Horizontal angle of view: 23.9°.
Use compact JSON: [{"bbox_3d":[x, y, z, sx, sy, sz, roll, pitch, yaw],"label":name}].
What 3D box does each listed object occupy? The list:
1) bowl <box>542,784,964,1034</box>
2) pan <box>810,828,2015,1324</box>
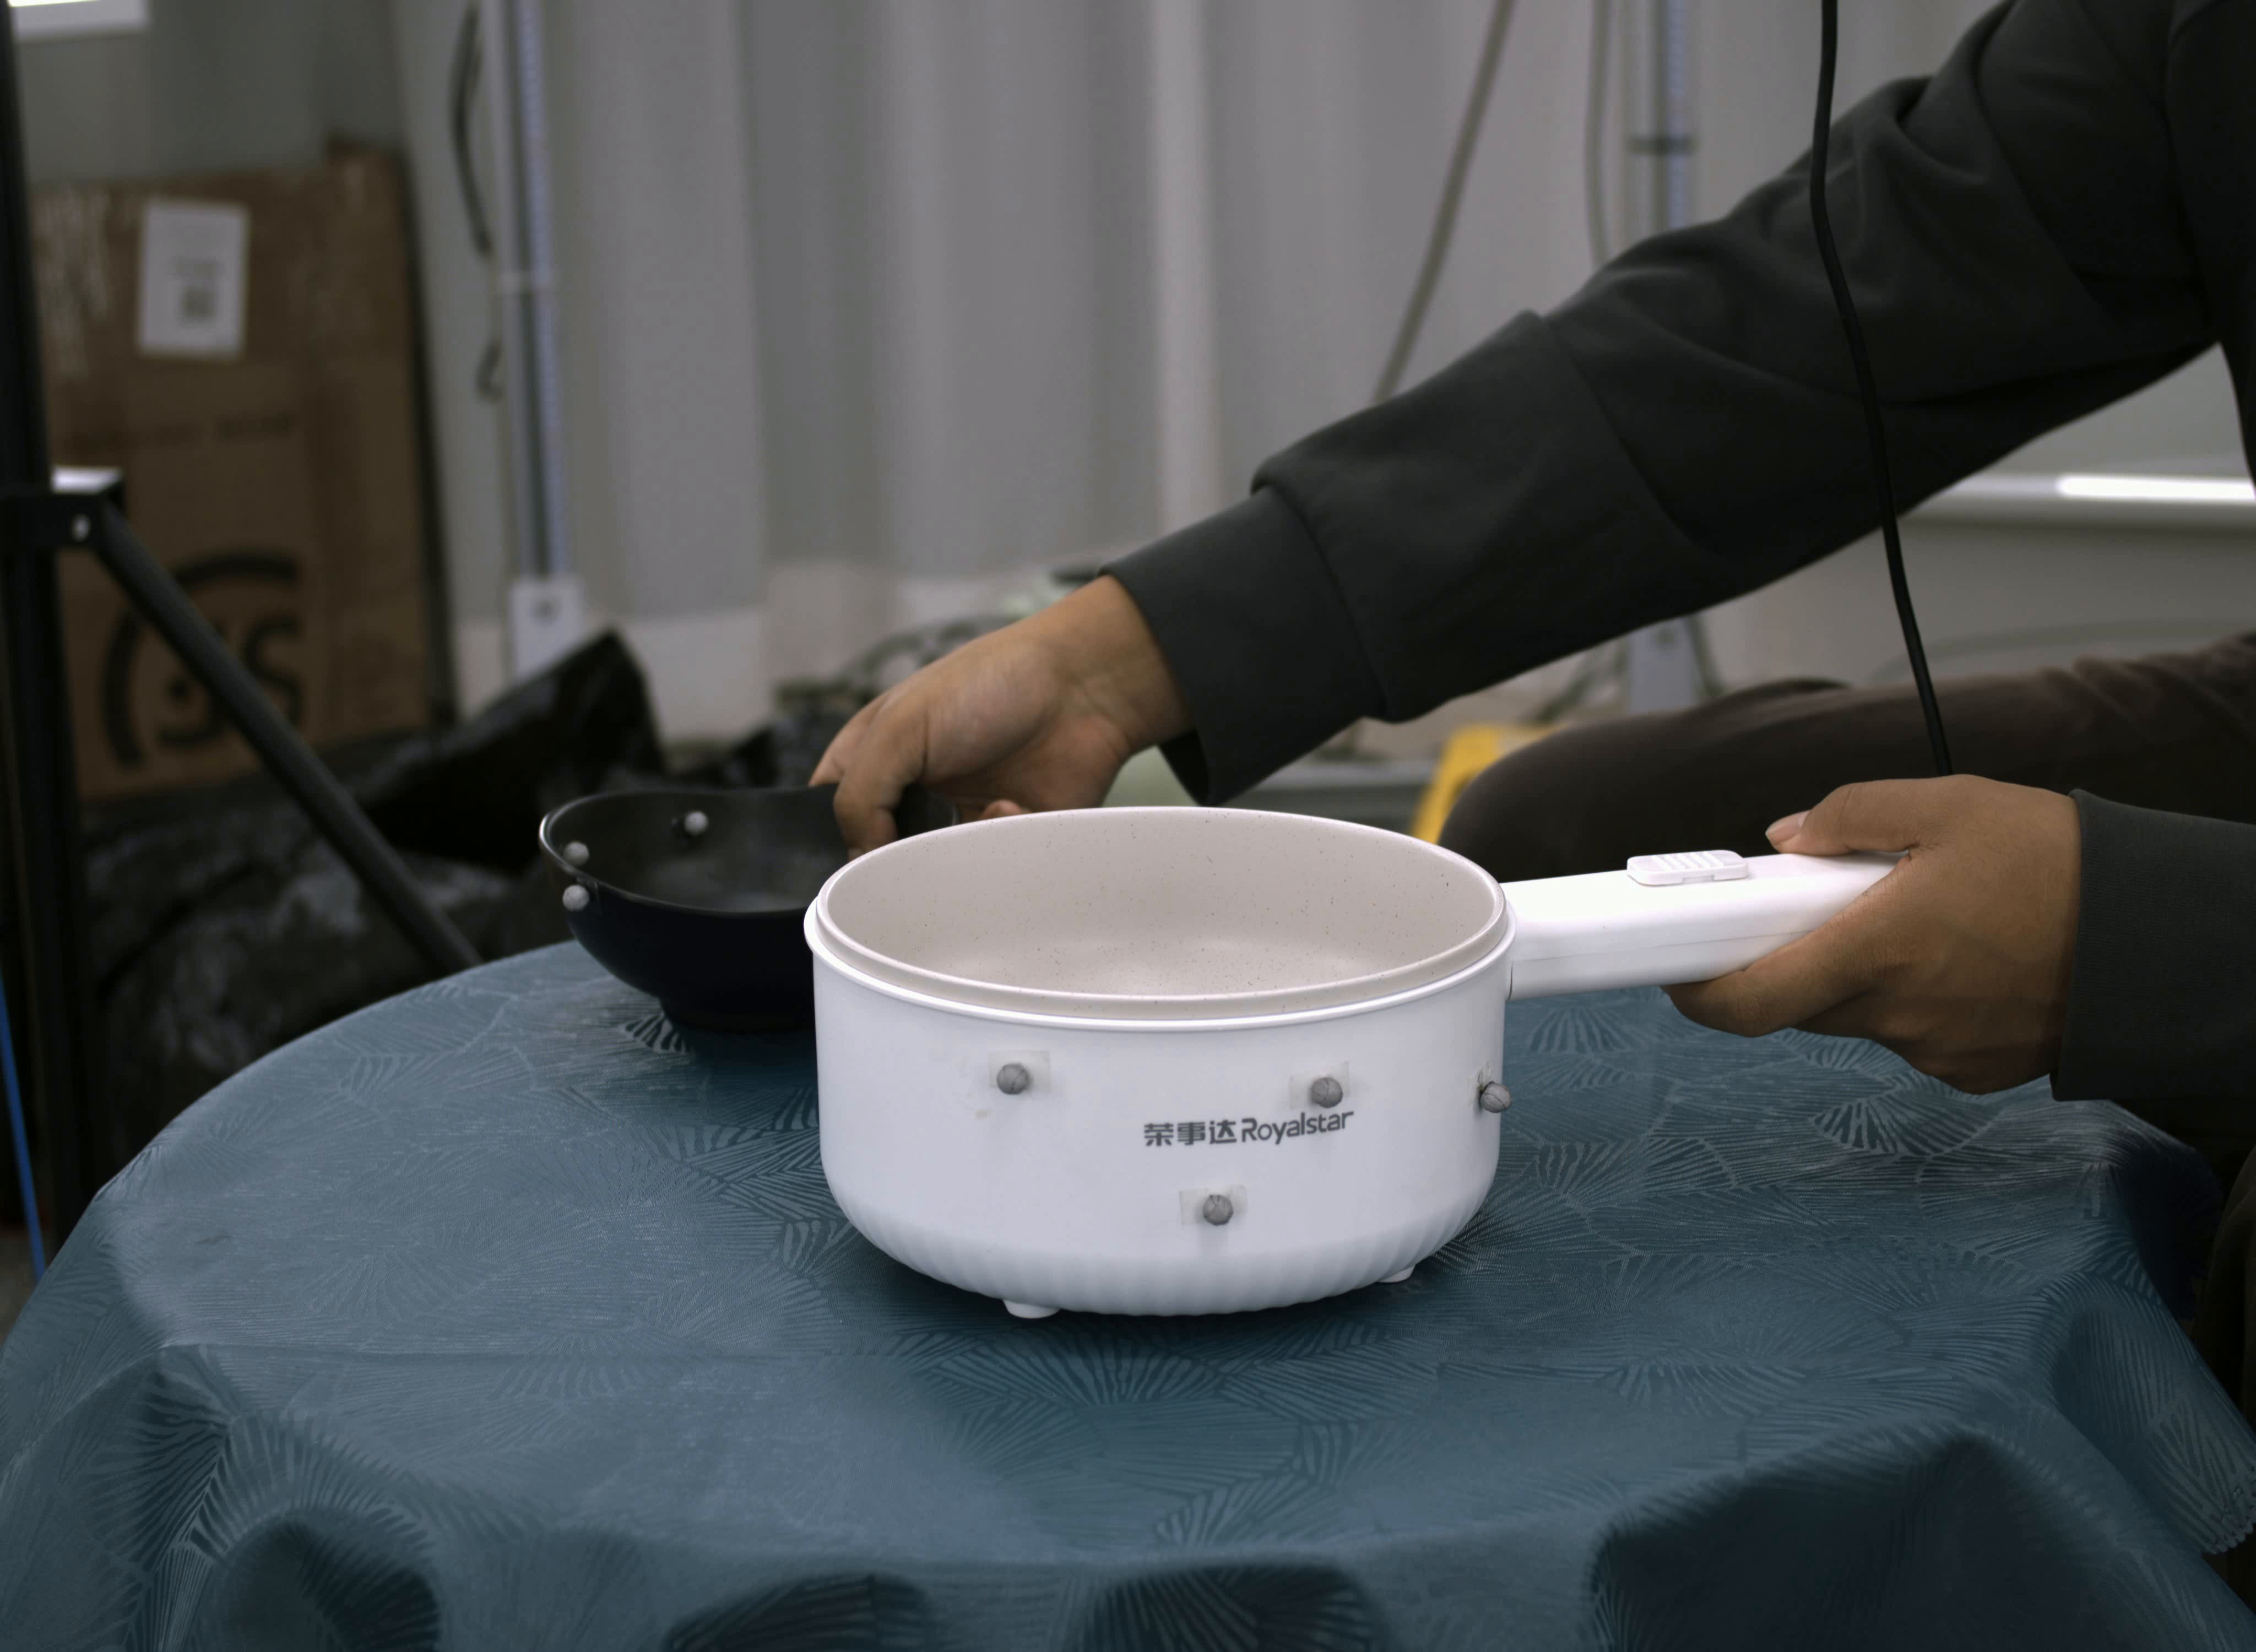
[{"bbox_3d":[-0.121,0.028,1.737,0.136,0.067,0.171,-3,15,-3],"label":"bowl"},{"bbox_3d":[0.083,0.069,1.524,0.349,0.102,0.204,-3,13,-14],"label":"pan"}]
